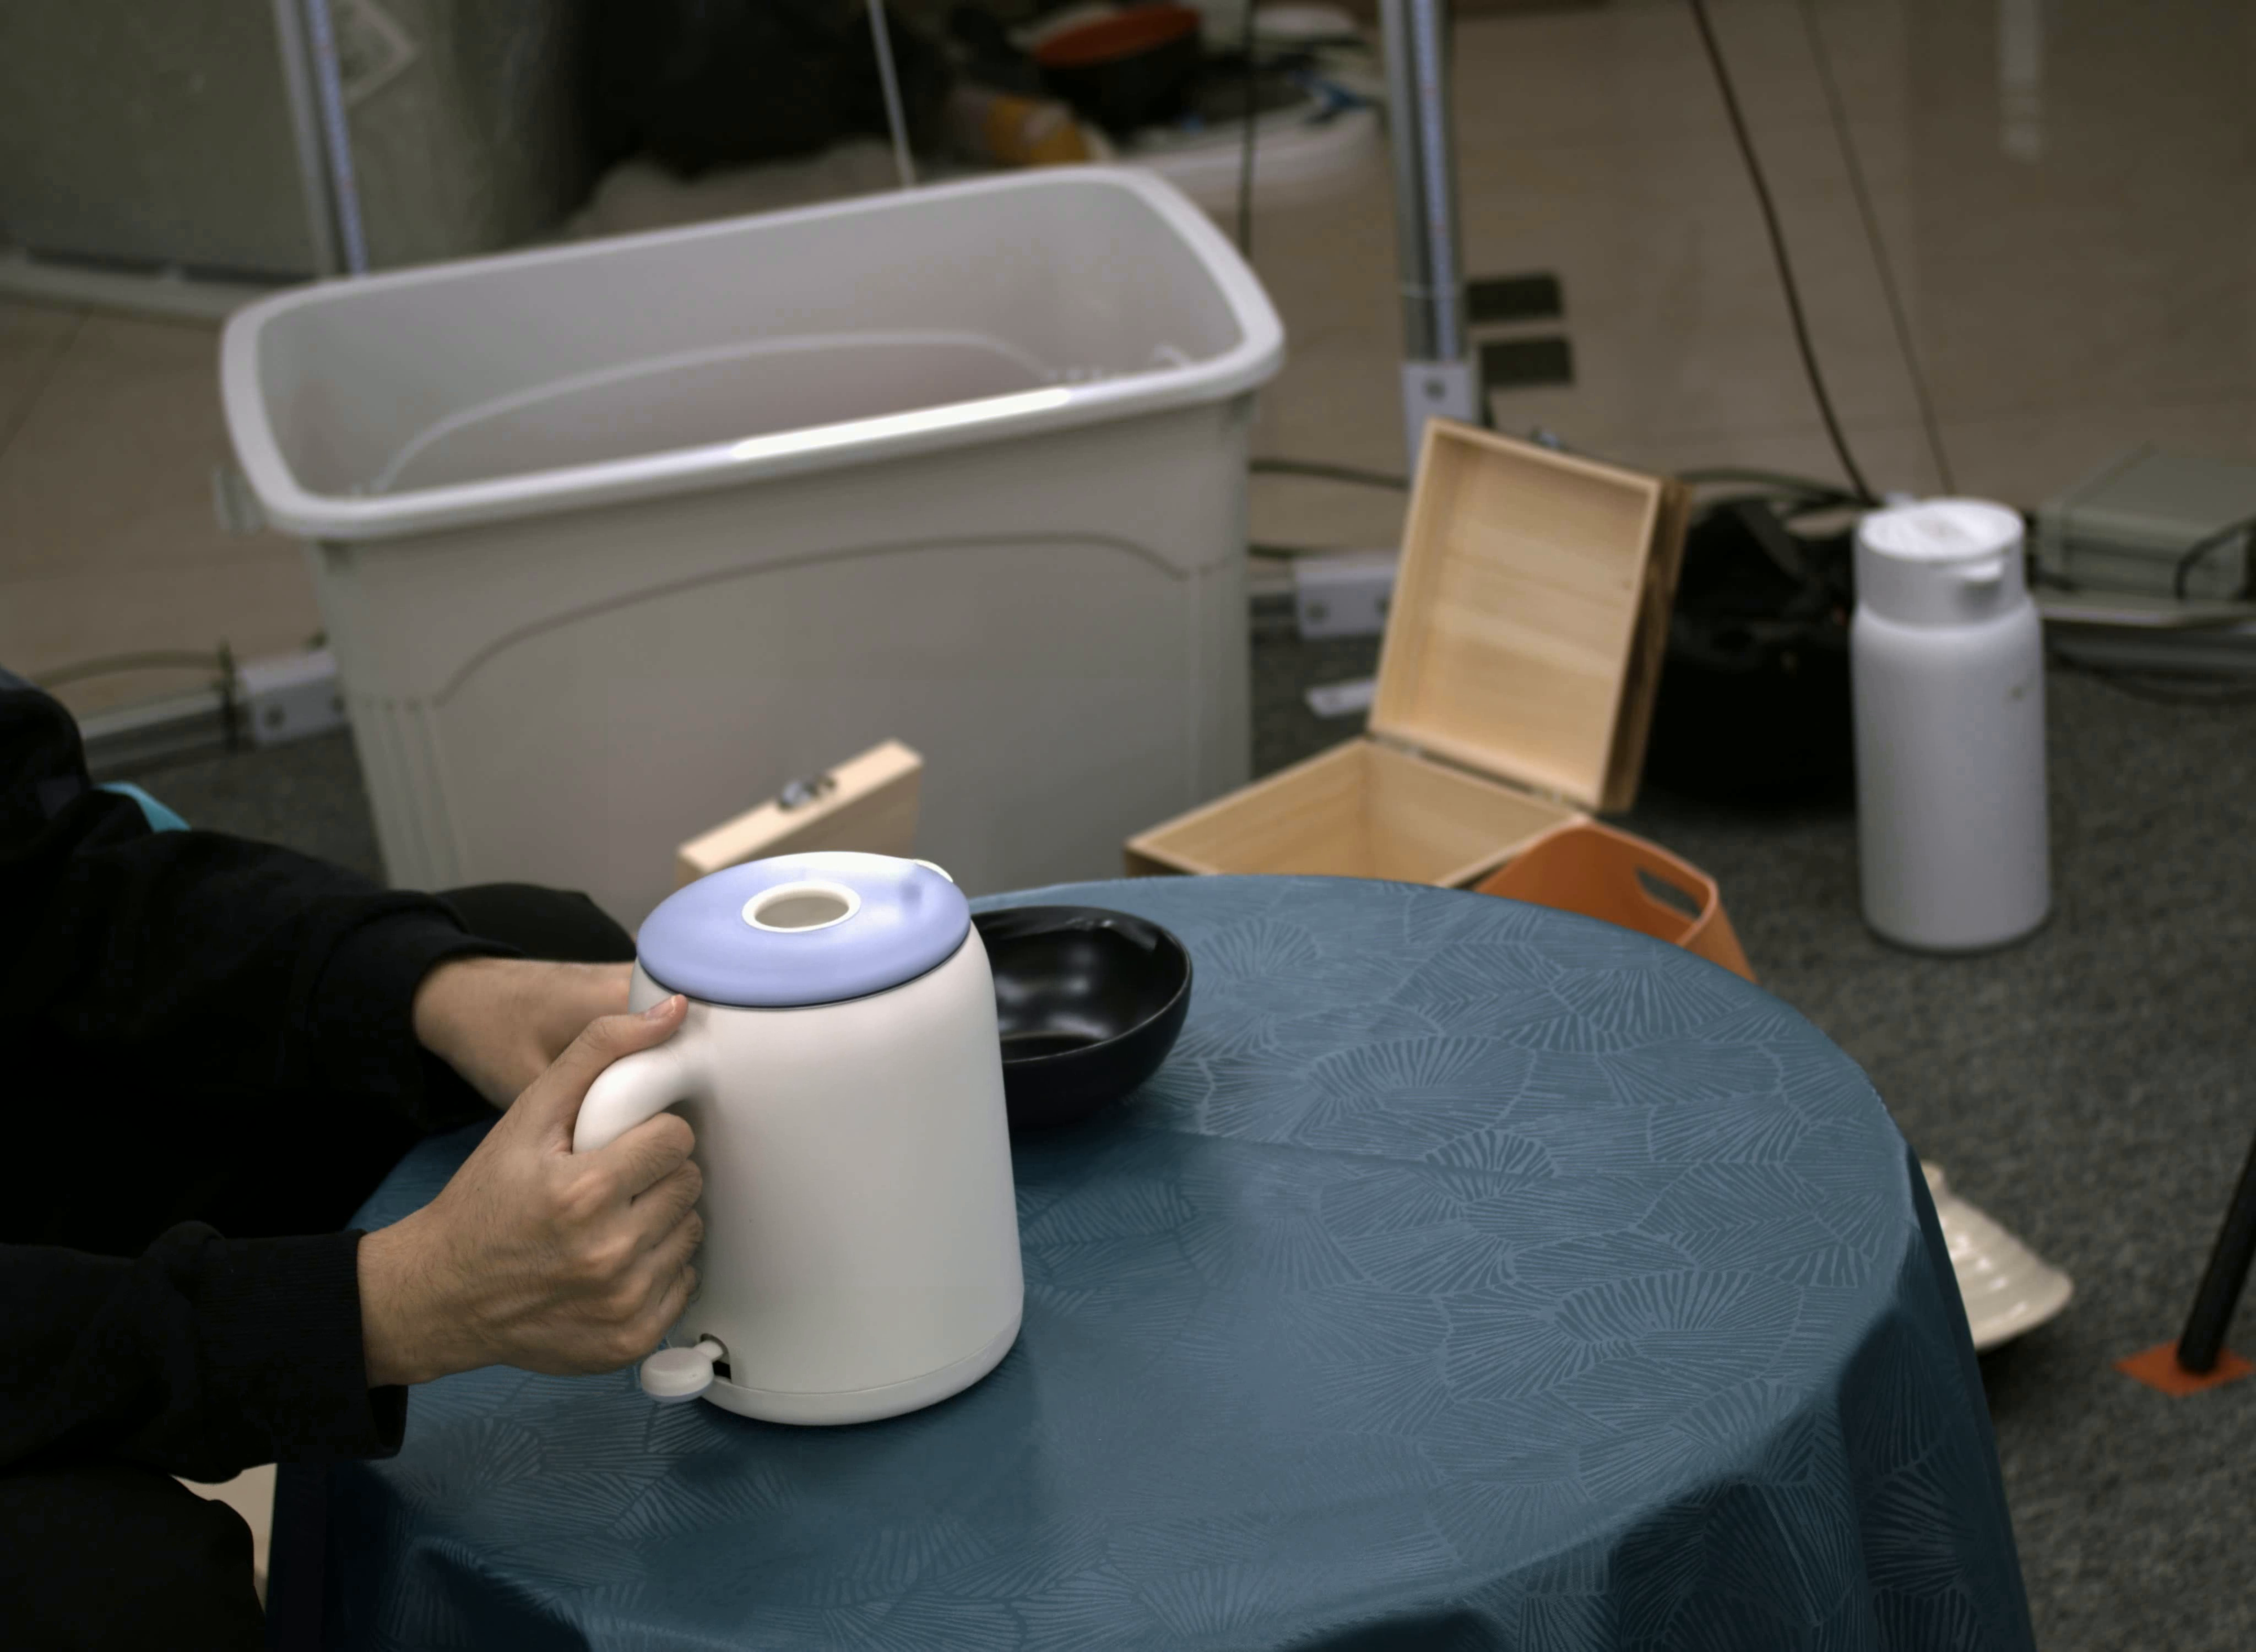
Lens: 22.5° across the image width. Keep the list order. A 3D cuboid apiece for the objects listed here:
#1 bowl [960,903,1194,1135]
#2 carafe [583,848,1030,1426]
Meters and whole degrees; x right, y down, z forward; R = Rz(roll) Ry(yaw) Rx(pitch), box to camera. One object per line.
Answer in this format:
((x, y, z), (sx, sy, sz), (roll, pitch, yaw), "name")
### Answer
((-0.040, 0.082, 2.217), (0.140, 0.050, 0.138), (-7, 26, 3), "bowl")
((-0.123, 0.120, 2.007), (0.131, 0.185, 0.189), (15, 34, 38), "carafe")
